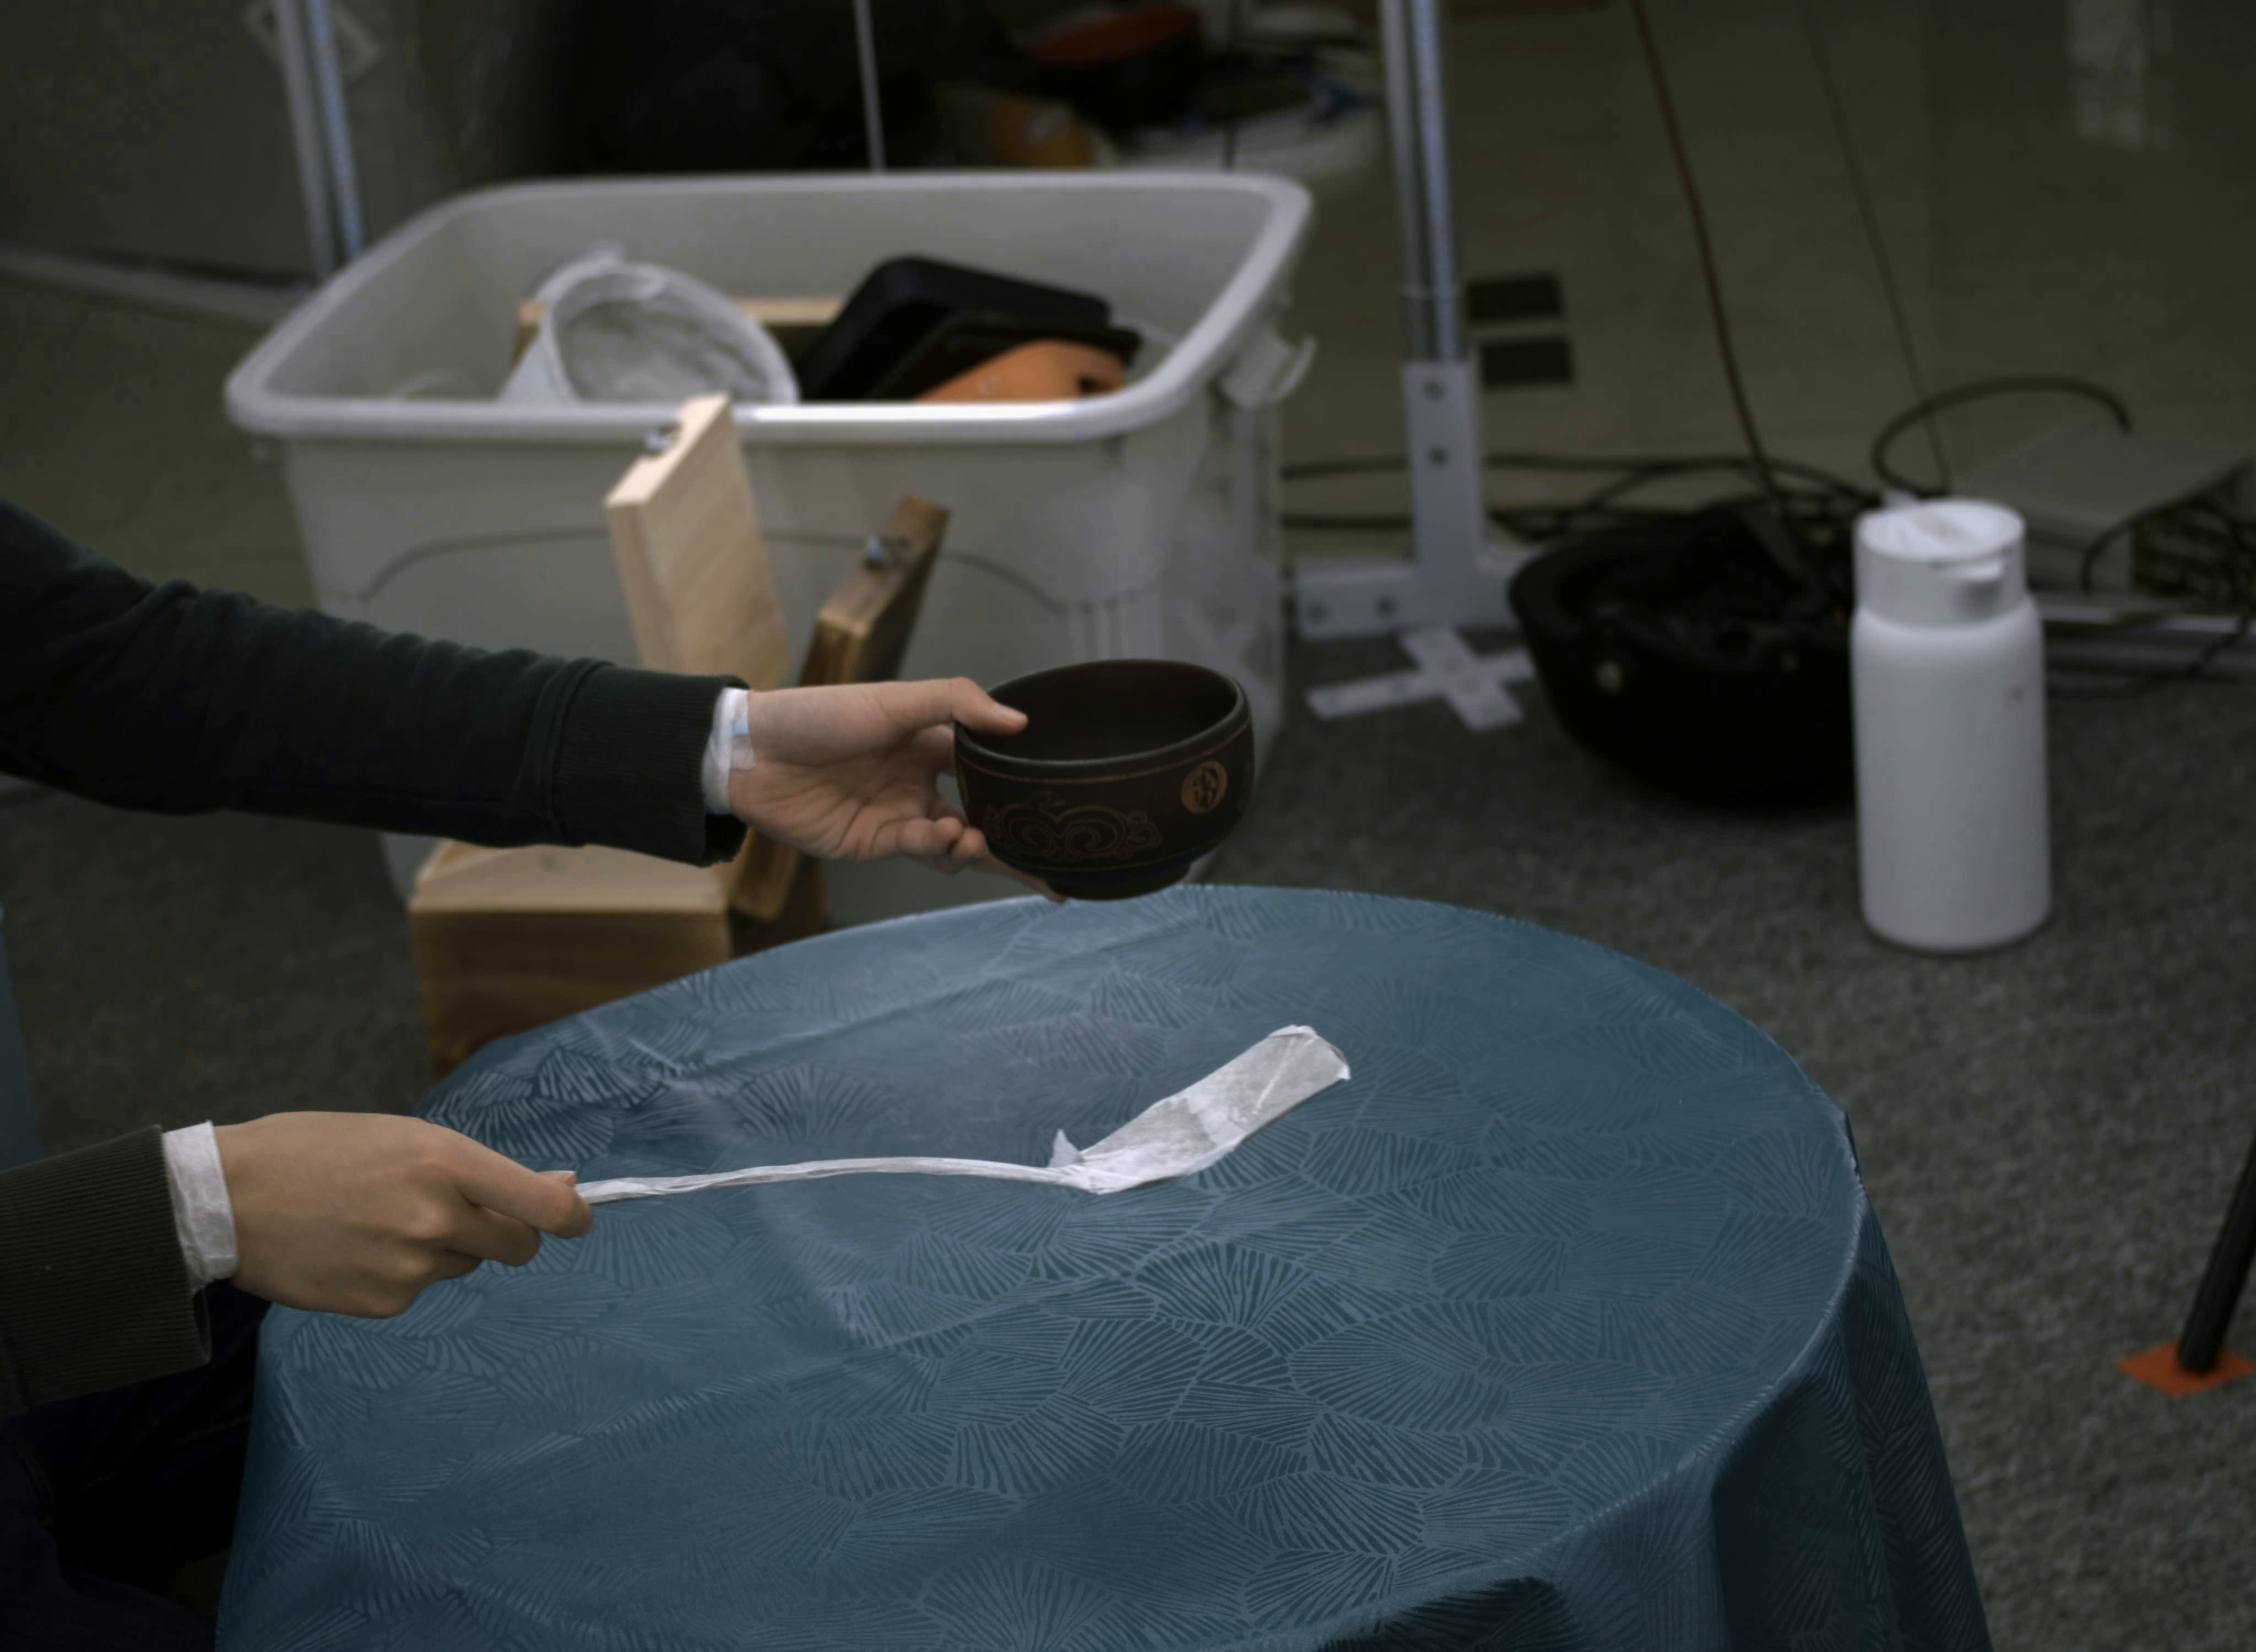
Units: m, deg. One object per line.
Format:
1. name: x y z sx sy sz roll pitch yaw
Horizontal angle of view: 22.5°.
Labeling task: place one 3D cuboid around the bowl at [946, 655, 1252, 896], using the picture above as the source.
1. bowl: -0.009 -0.015 2.187 0.118 0.071 0.116 -7 21 3

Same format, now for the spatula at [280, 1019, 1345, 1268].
1. spatula: -0.106 0.111 1.912 0.364 0.045 0.098 -5 12 -5
